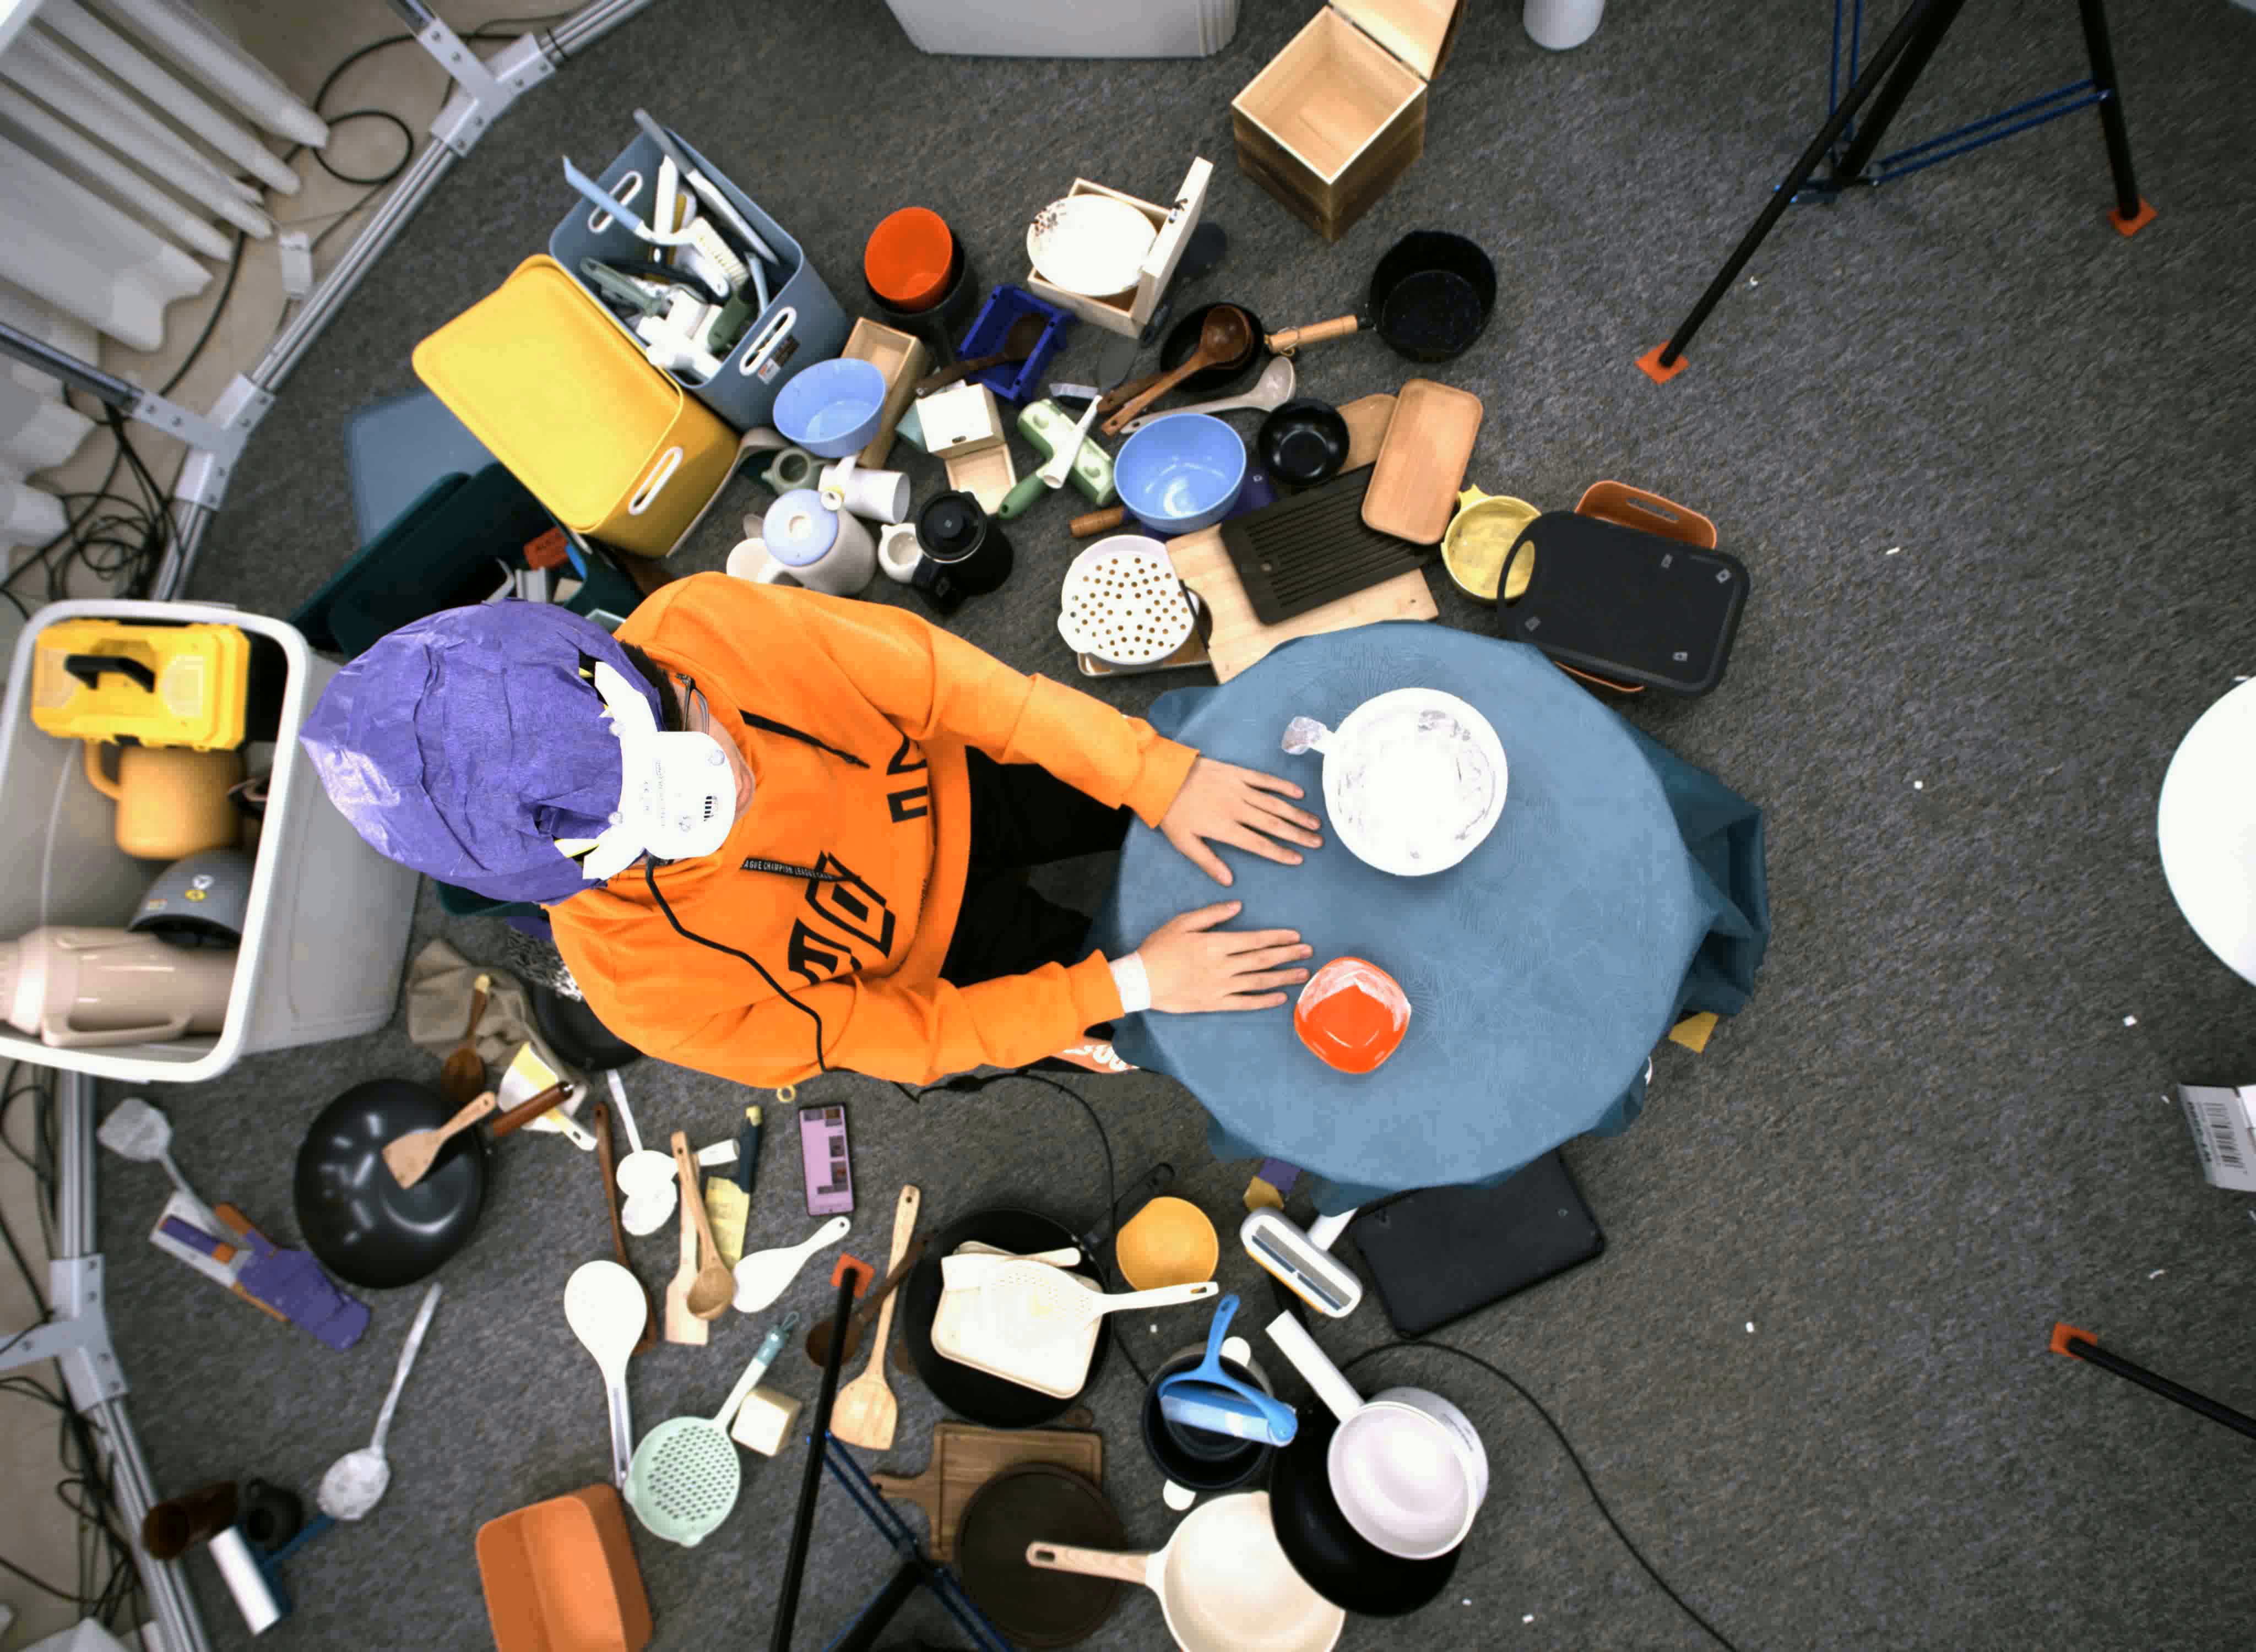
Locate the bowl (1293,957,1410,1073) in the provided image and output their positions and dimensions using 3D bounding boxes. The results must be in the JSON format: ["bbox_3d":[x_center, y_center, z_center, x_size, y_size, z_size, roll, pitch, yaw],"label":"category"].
[{"bbox_3d":[0.231,0.193,1.434,0.119,0.051,0.118,-1,88,10],"label":"bowl"}]

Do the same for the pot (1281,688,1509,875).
[{"bbox_3d":[0.263,-0.053,1.398,0.233,0.137,0.178,25,90,11],"label":"pot"}]
